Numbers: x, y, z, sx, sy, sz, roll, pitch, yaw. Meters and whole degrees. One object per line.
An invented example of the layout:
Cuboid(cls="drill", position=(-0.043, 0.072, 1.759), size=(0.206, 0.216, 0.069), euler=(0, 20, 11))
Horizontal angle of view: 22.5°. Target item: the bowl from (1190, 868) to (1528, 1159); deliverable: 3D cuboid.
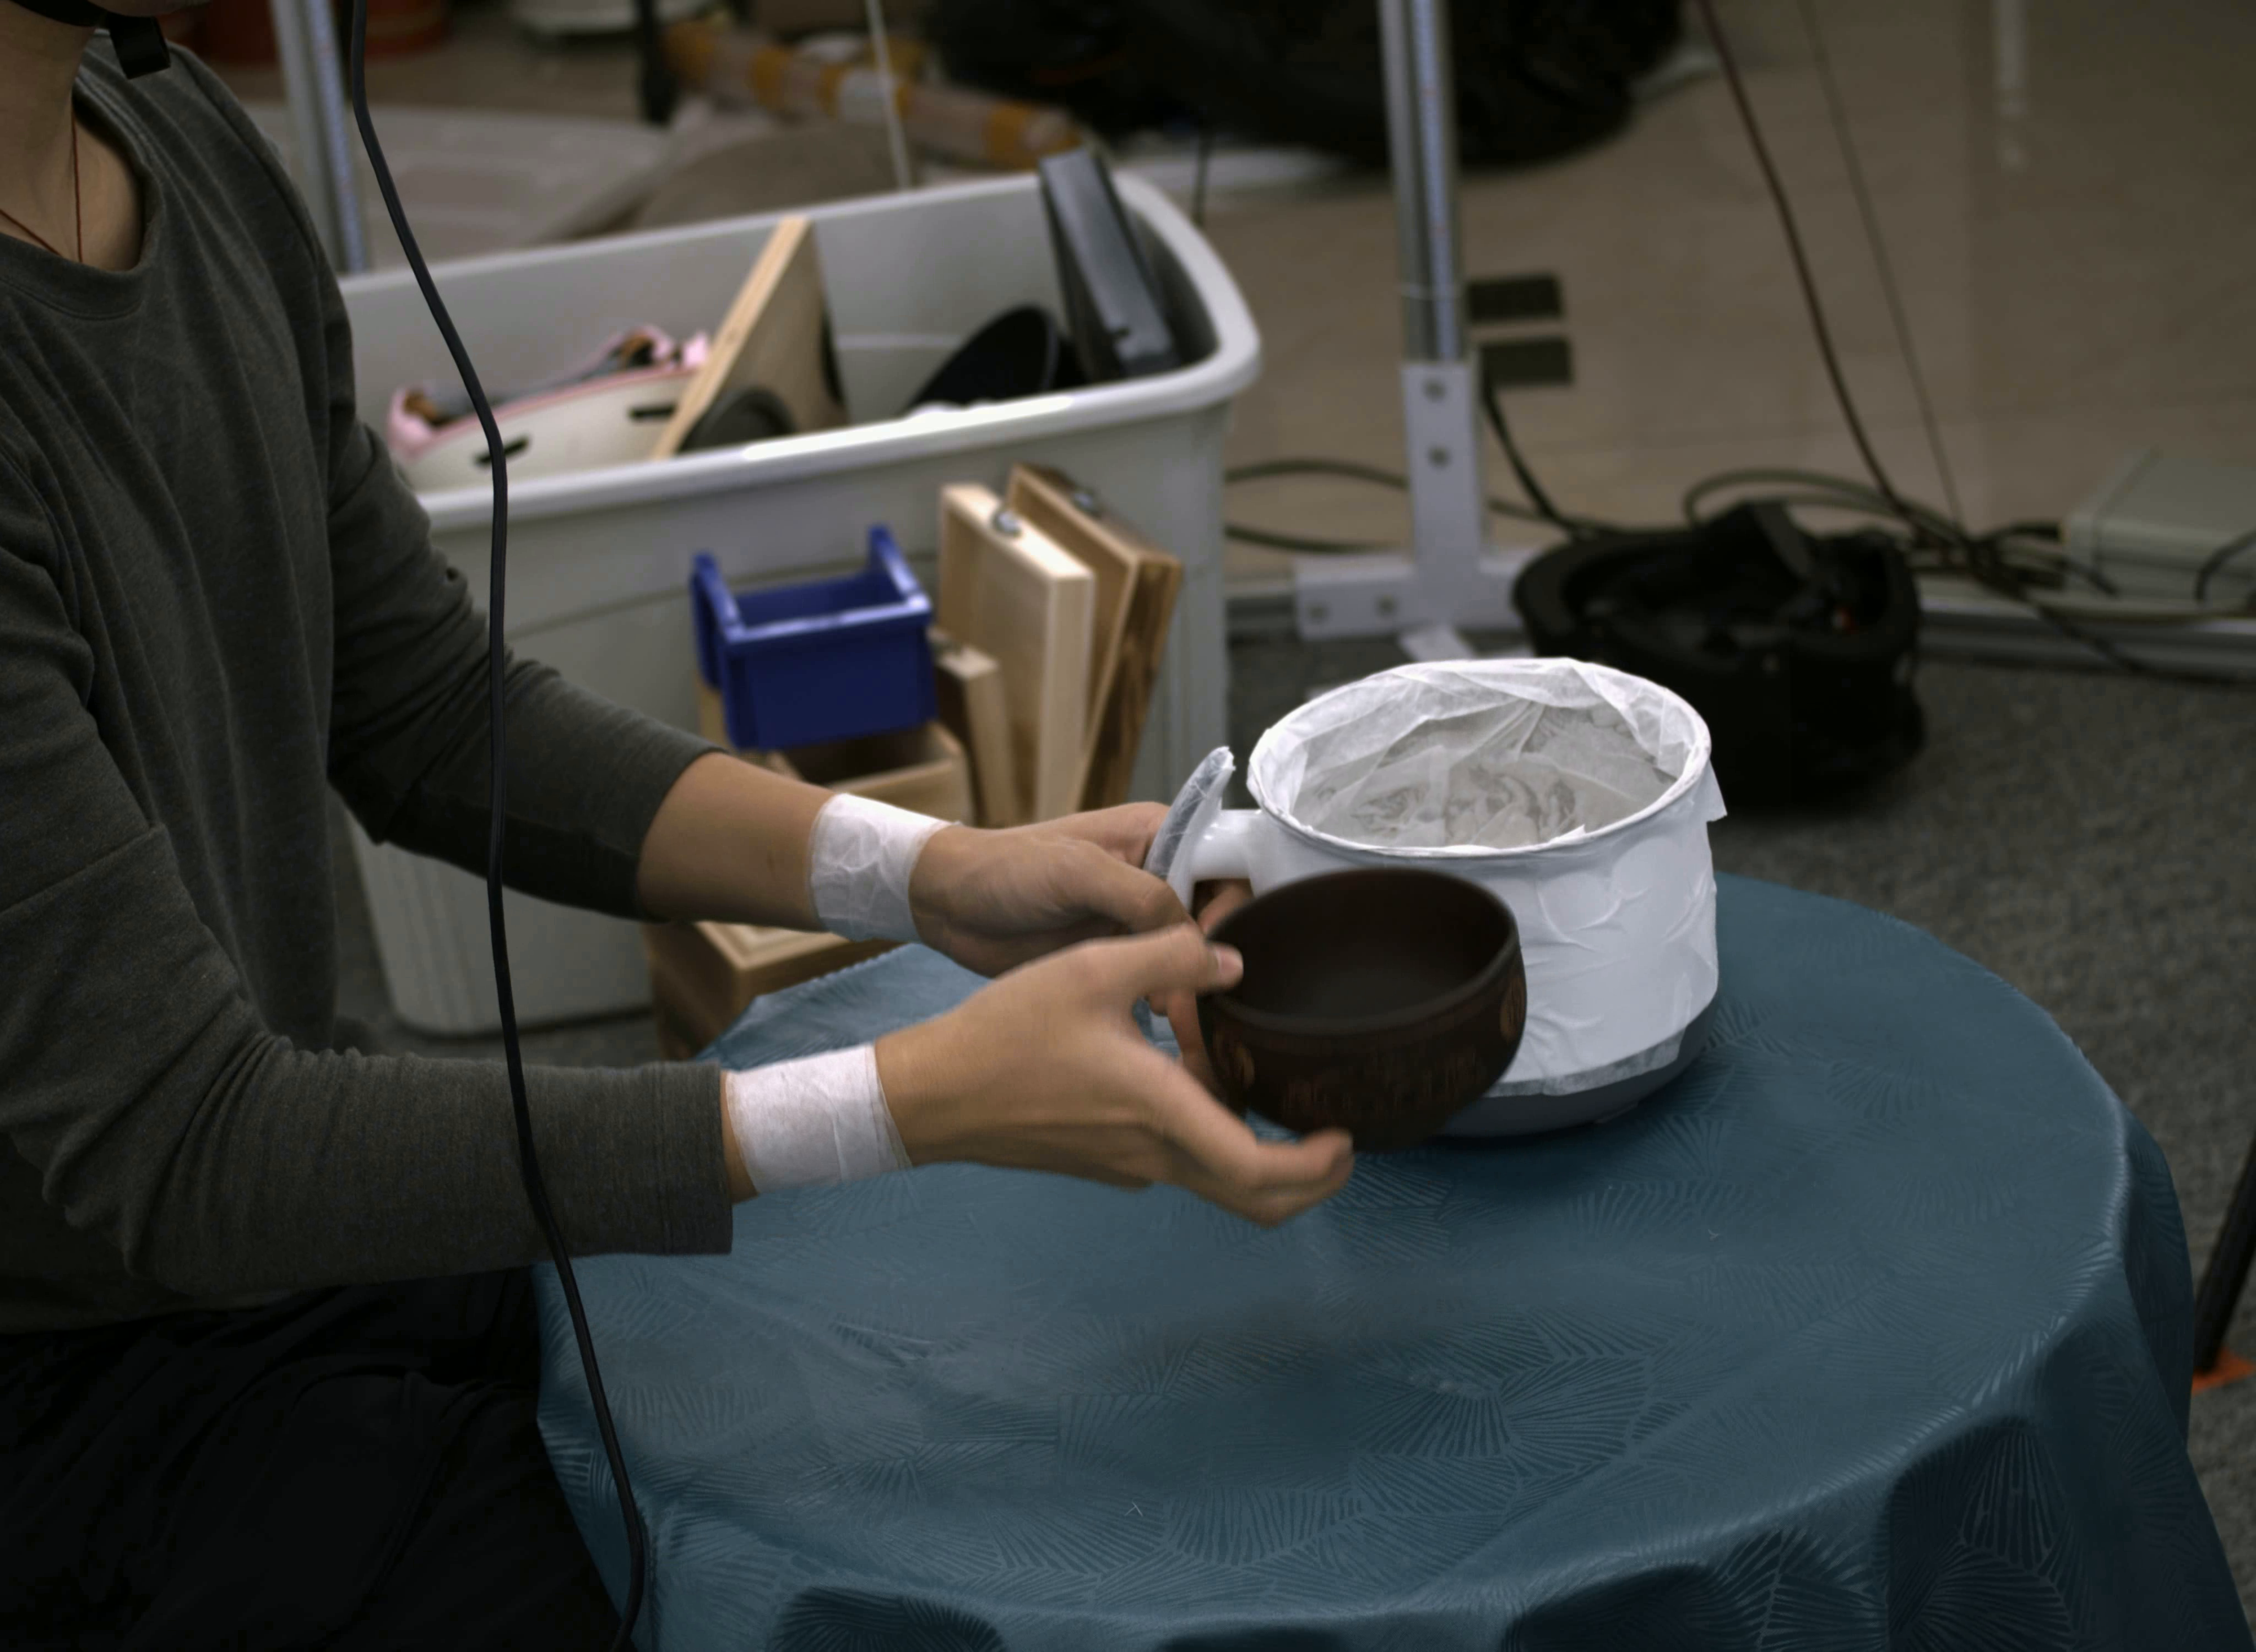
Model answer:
Cuboid(cls="bowl", position=(0.084, 0.074, 1.997), size=(0.118, 0.071, 0.116), euler=(-9, 30, 6))

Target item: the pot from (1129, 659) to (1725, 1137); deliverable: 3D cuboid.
Cuboid(cls="pot", position=(0.113, 0.031, 2.189), size=(0.233, 0.139, 0.176), euler=(-3, 26, 8))
